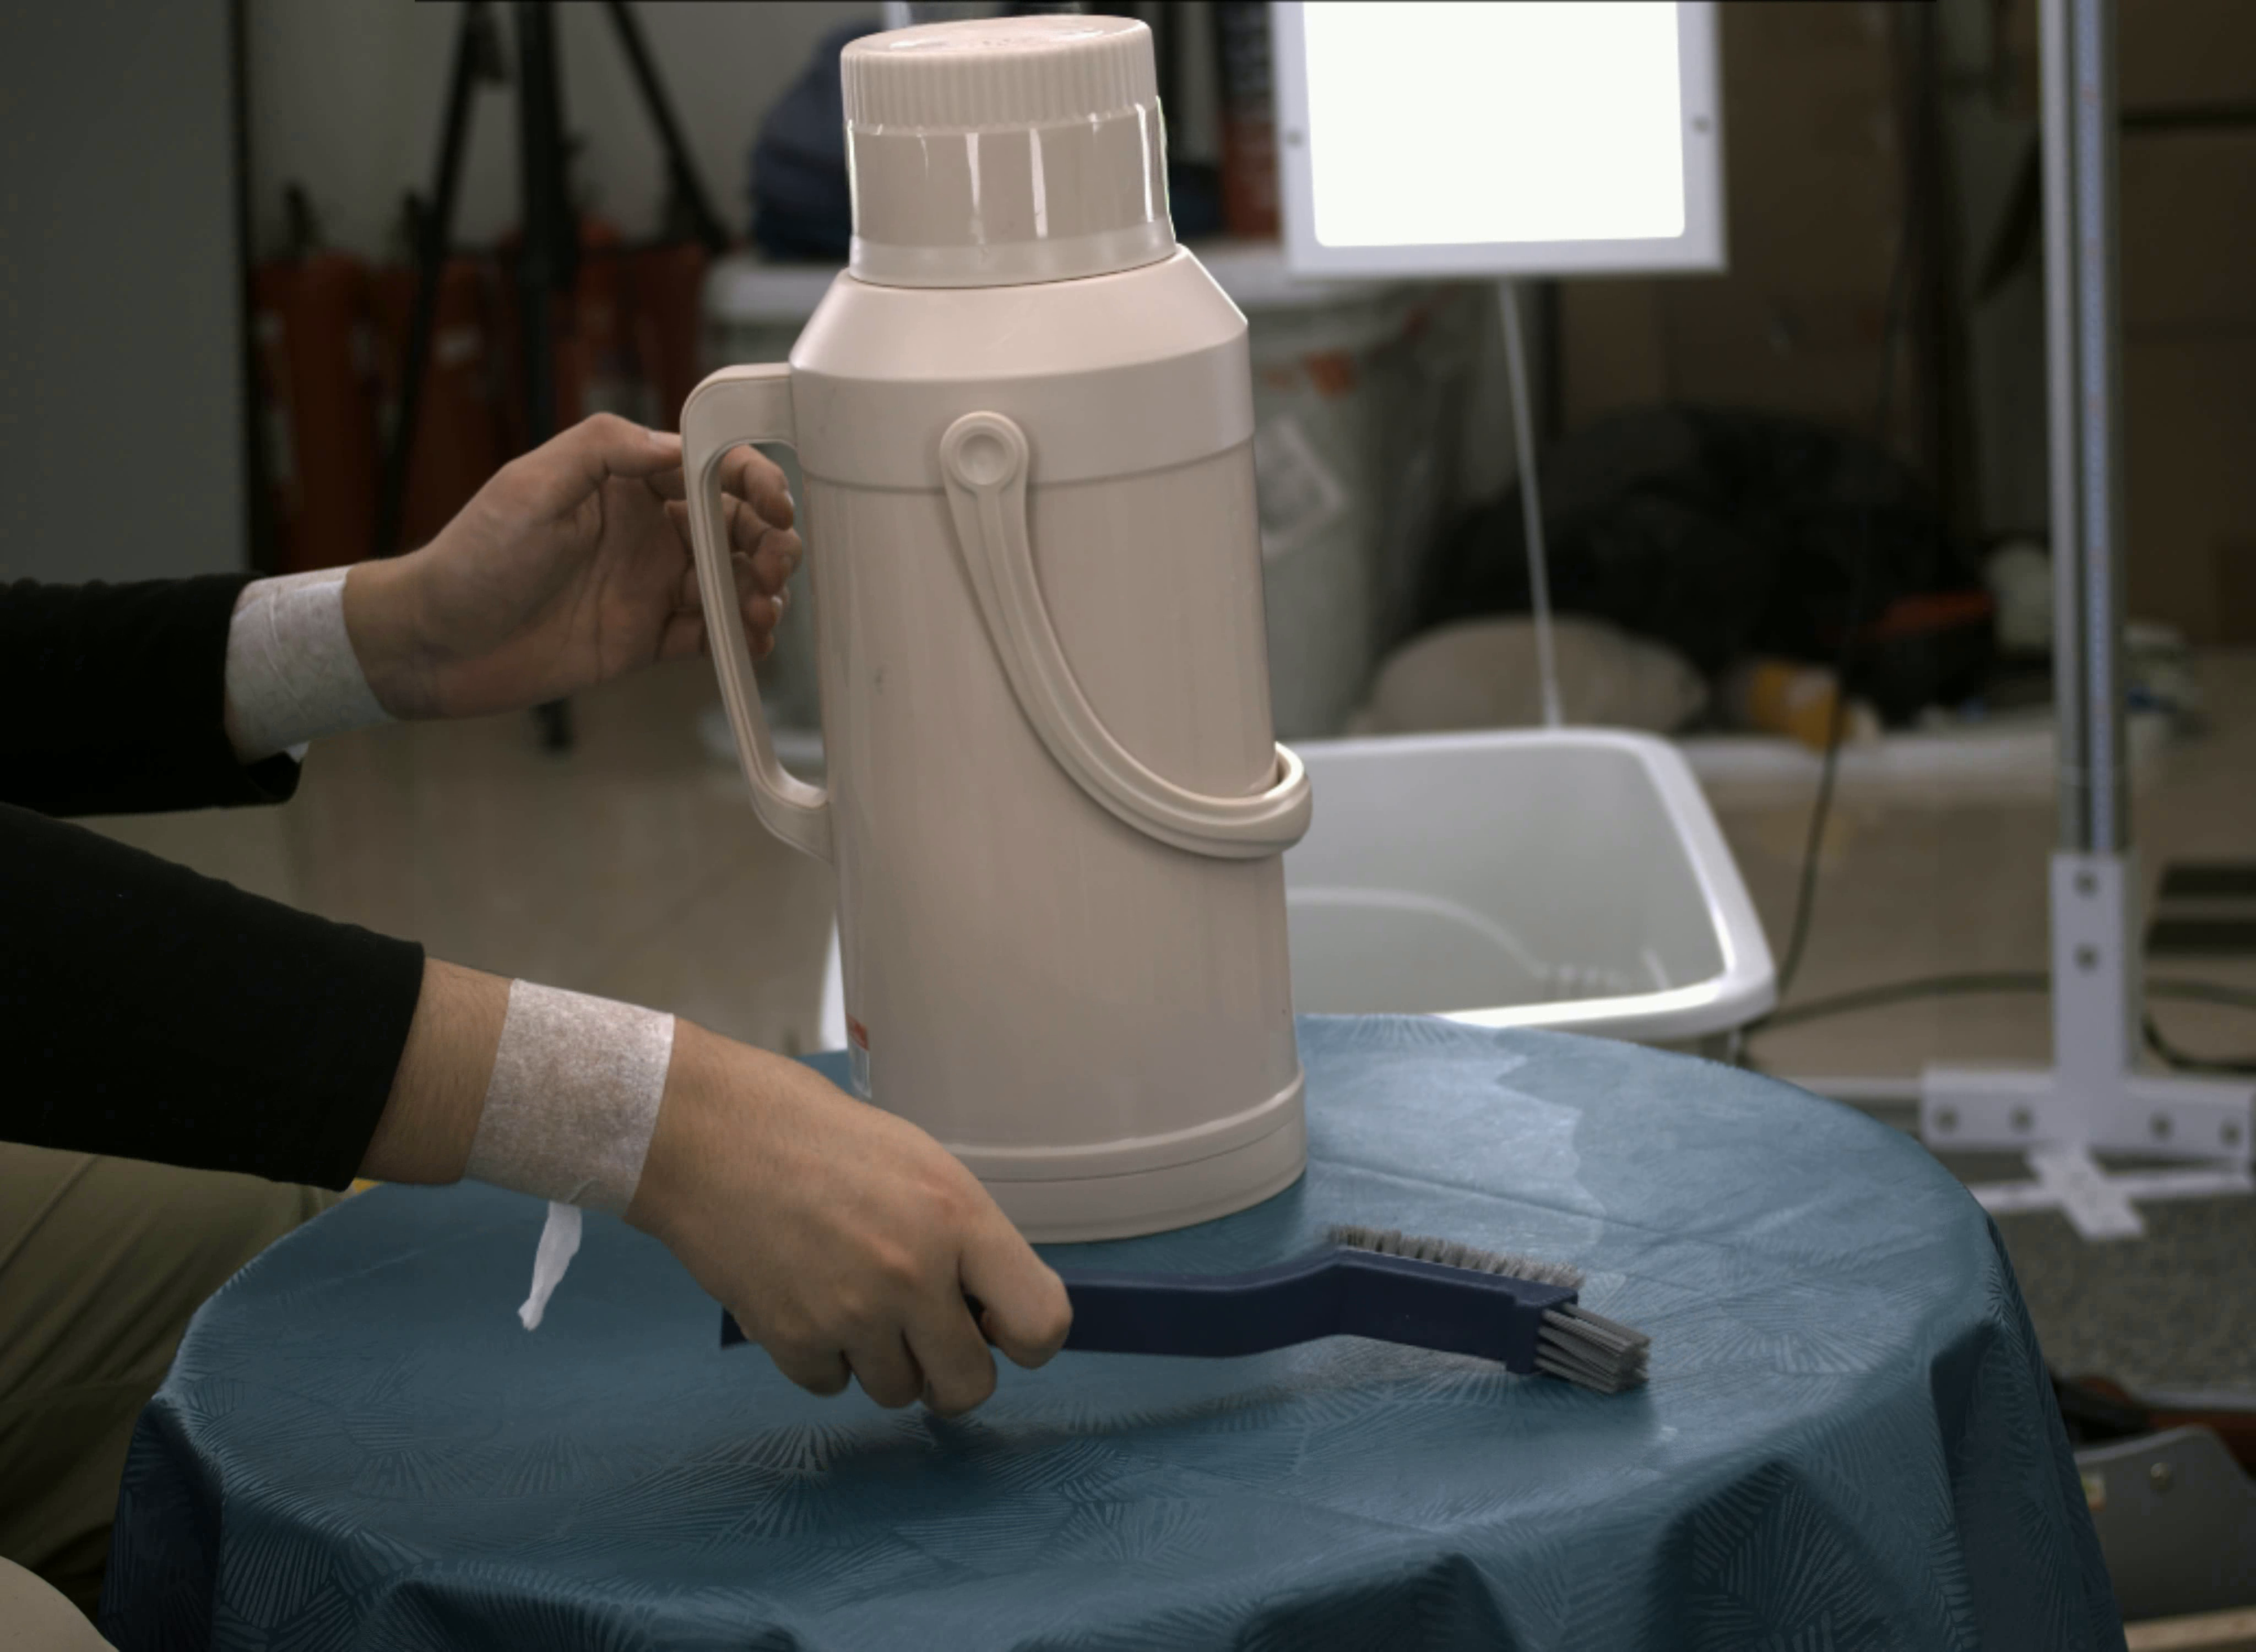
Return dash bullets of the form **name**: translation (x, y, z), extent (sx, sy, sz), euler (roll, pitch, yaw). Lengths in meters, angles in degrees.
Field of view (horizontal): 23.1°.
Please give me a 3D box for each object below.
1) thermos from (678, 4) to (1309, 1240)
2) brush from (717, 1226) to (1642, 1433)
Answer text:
- **thermos**: translation (-0.045, -0.070, 1.882), extent (0.208, 0.408, 0.174), euler (-2, 16, 9)
- **brush**: translation (0.014, 0.150, 1.667), extent (0.270, 0.034, 0.096), euler (0, 25, -12)
